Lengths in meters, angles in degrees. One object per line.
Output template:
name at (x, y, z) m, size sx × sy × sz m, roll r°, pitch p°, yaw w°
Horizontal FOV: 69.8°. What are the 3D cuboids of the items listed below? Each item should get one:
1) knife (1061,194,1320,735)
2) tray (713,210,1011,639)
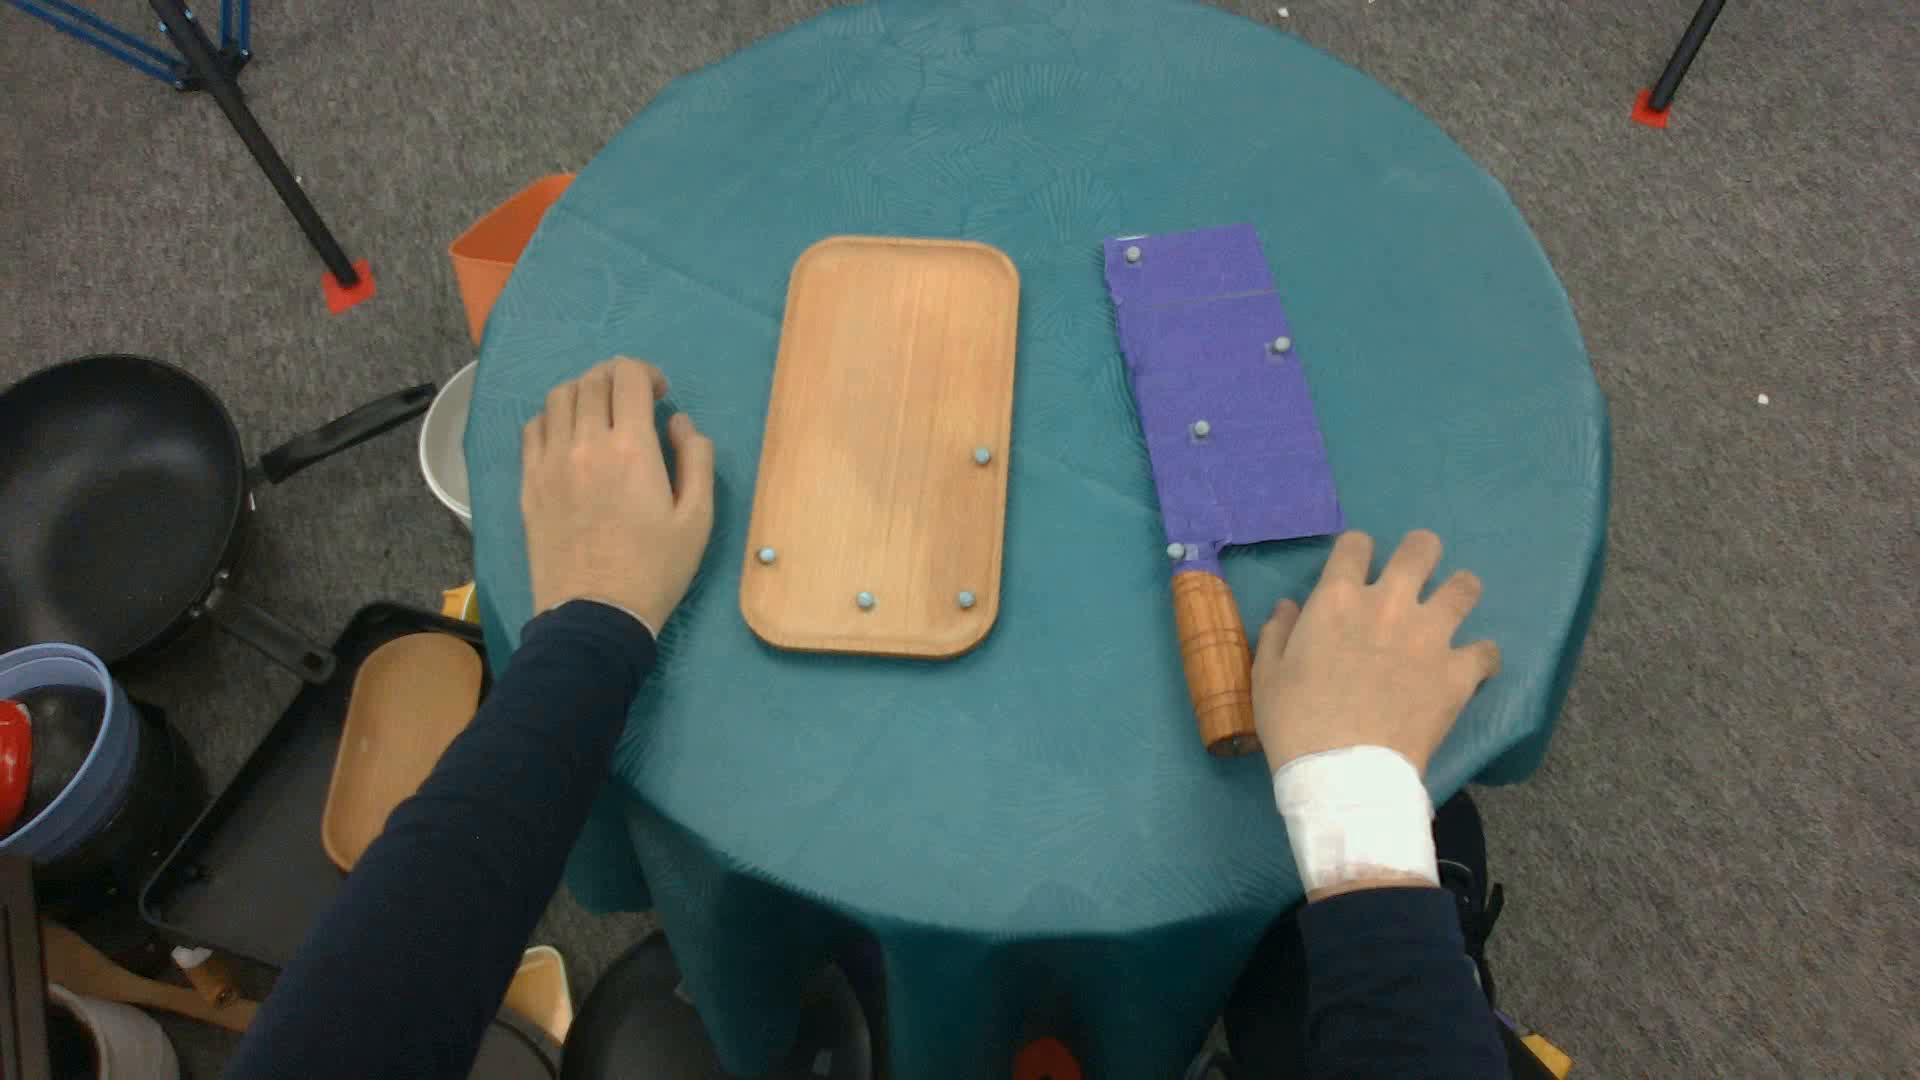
knife at (0.129, -0.057, 0.702) m, size 0.104 × 0.032 × 0.316 m, roll -7°, pitch 63°, yaw -3°
tray at (-0.046, -0.067, 0.714) m, size 0.130 × 0.023 × 0.251 m, roll 7°, pitch 63°, yaw 1°
